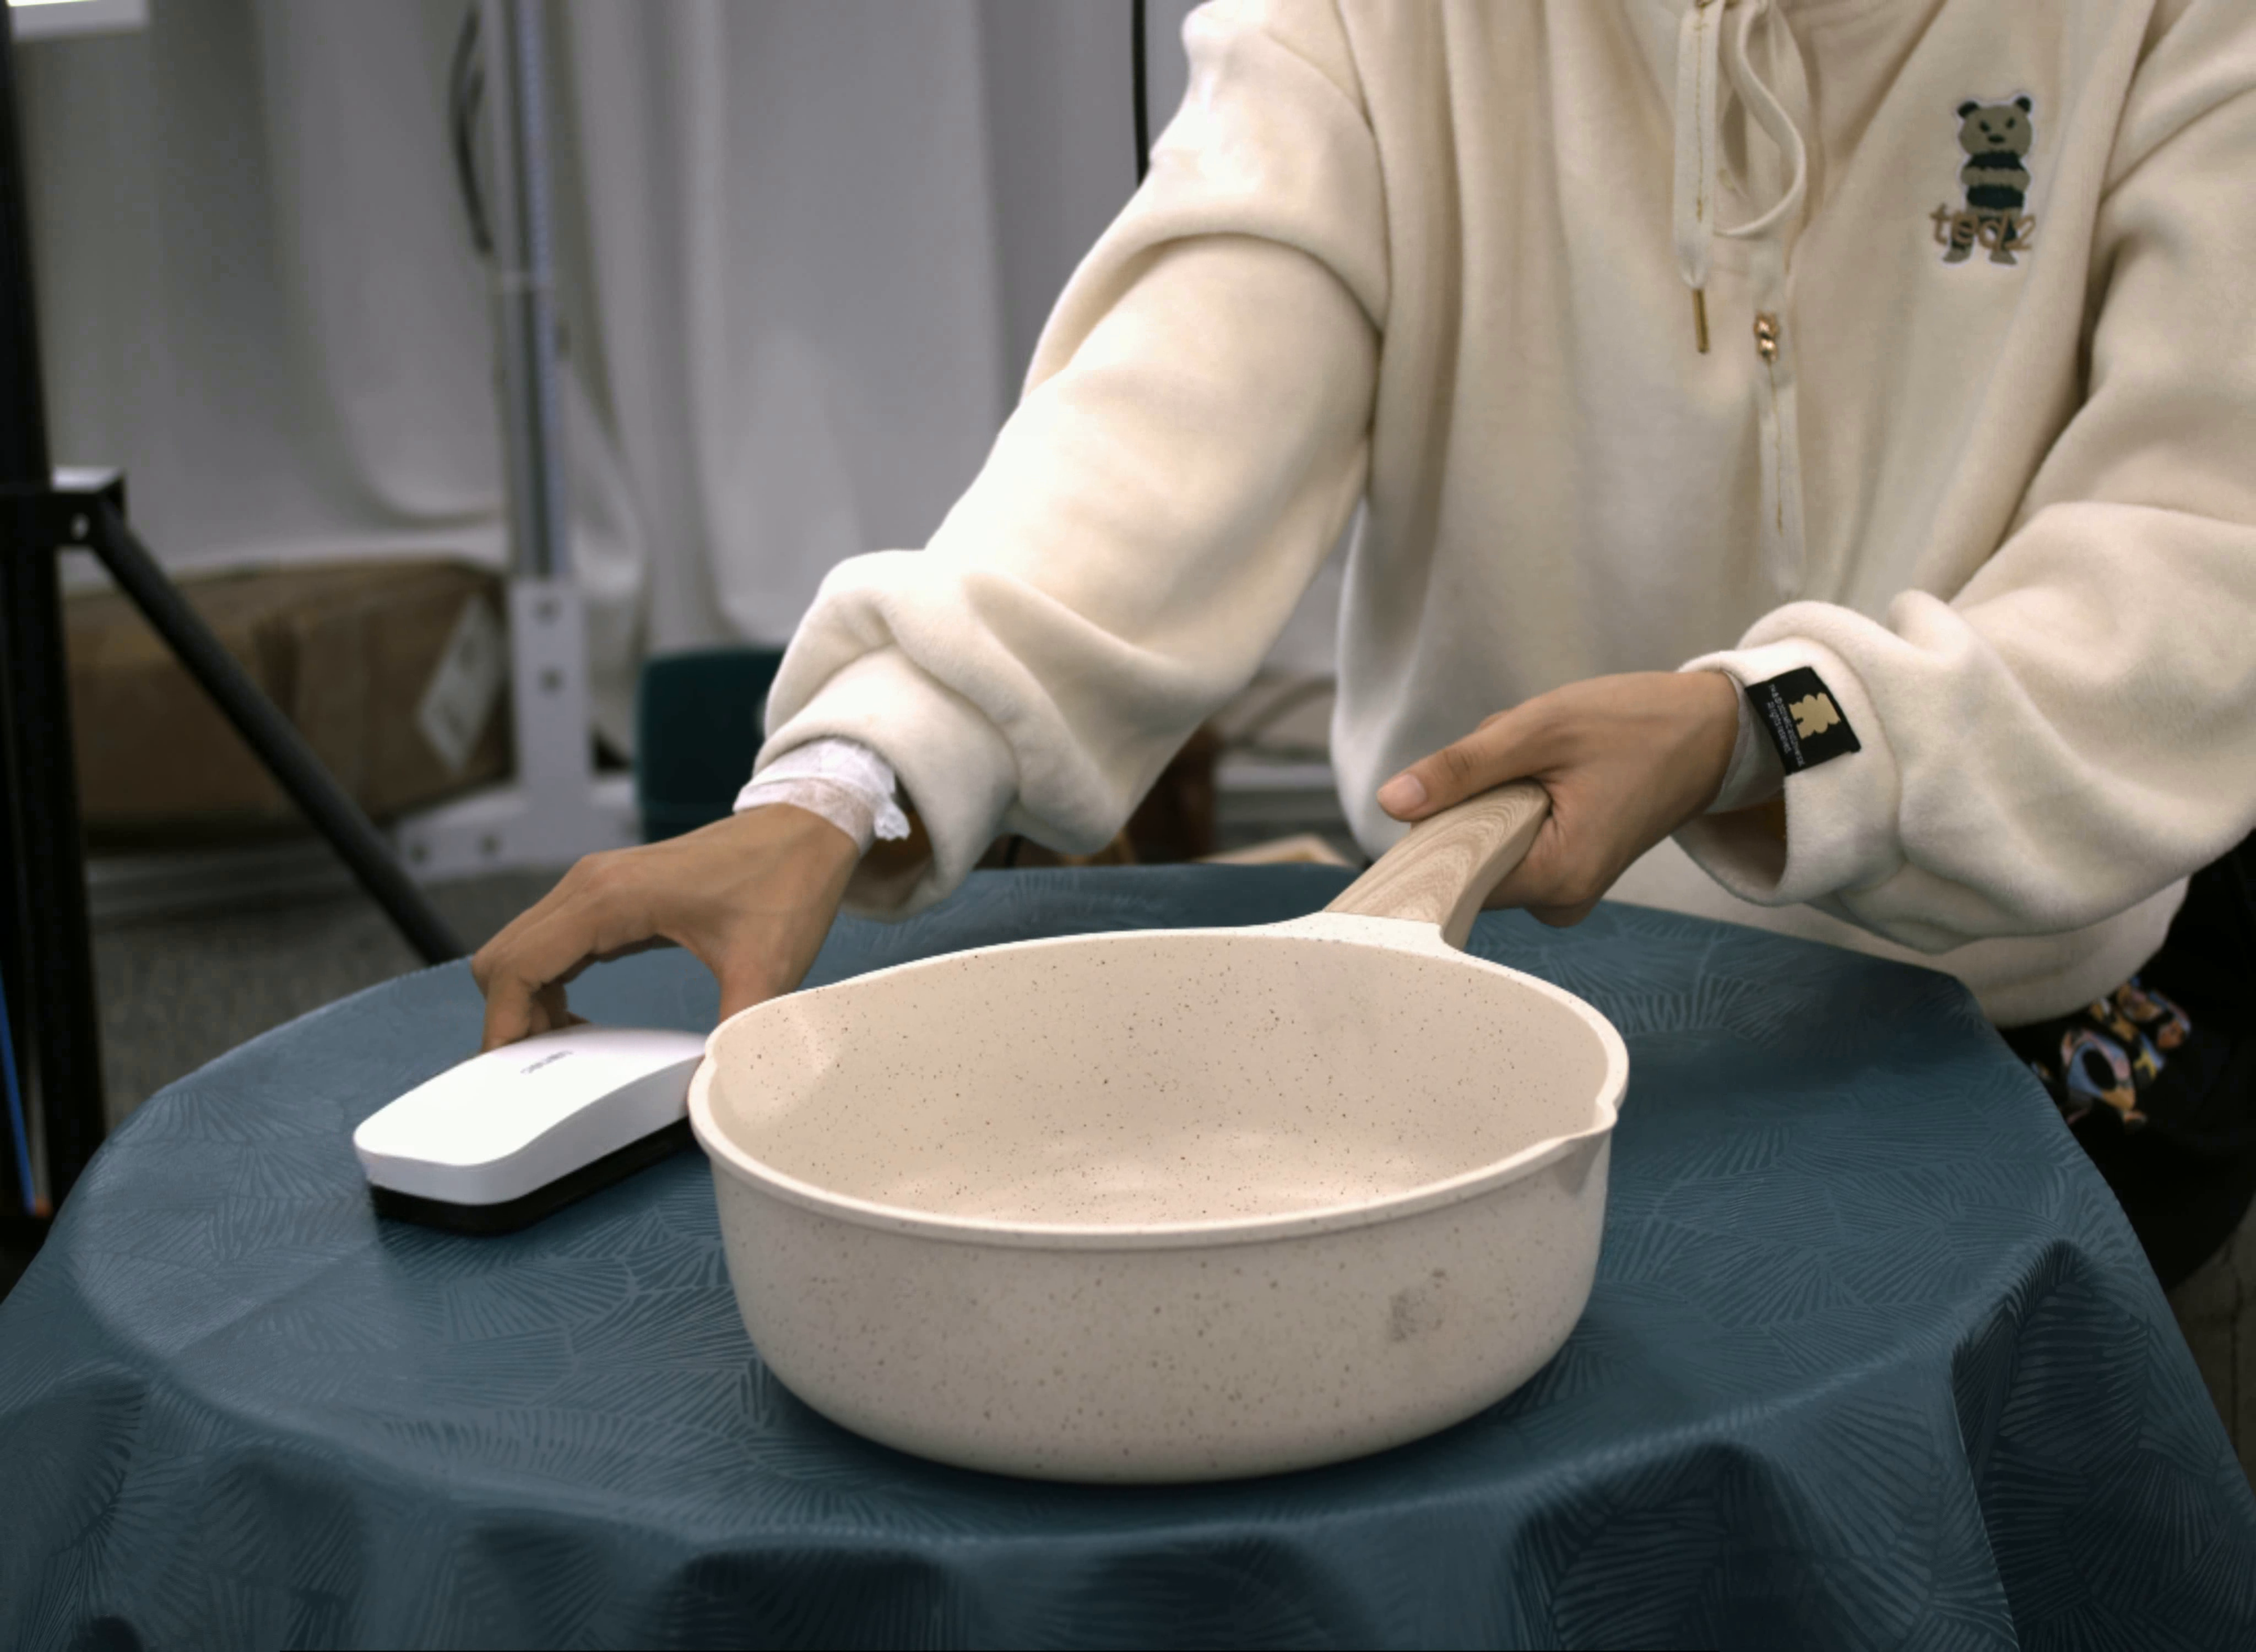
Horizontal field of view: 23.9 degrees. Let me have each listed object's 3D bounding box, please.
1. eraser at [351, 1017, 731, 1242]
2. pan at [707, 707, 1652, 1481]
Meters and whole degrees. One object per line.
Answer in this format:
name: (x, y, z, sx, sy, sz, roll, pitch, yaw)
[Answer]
eraser: (-0.172, 0.087, 1.602, 0.064, 0.034, 0.129, 10, 20, 33)
pan: (0.054, 0.070, 1.495, 0.267, 0.102, 0.428, 4, 18, 27)
